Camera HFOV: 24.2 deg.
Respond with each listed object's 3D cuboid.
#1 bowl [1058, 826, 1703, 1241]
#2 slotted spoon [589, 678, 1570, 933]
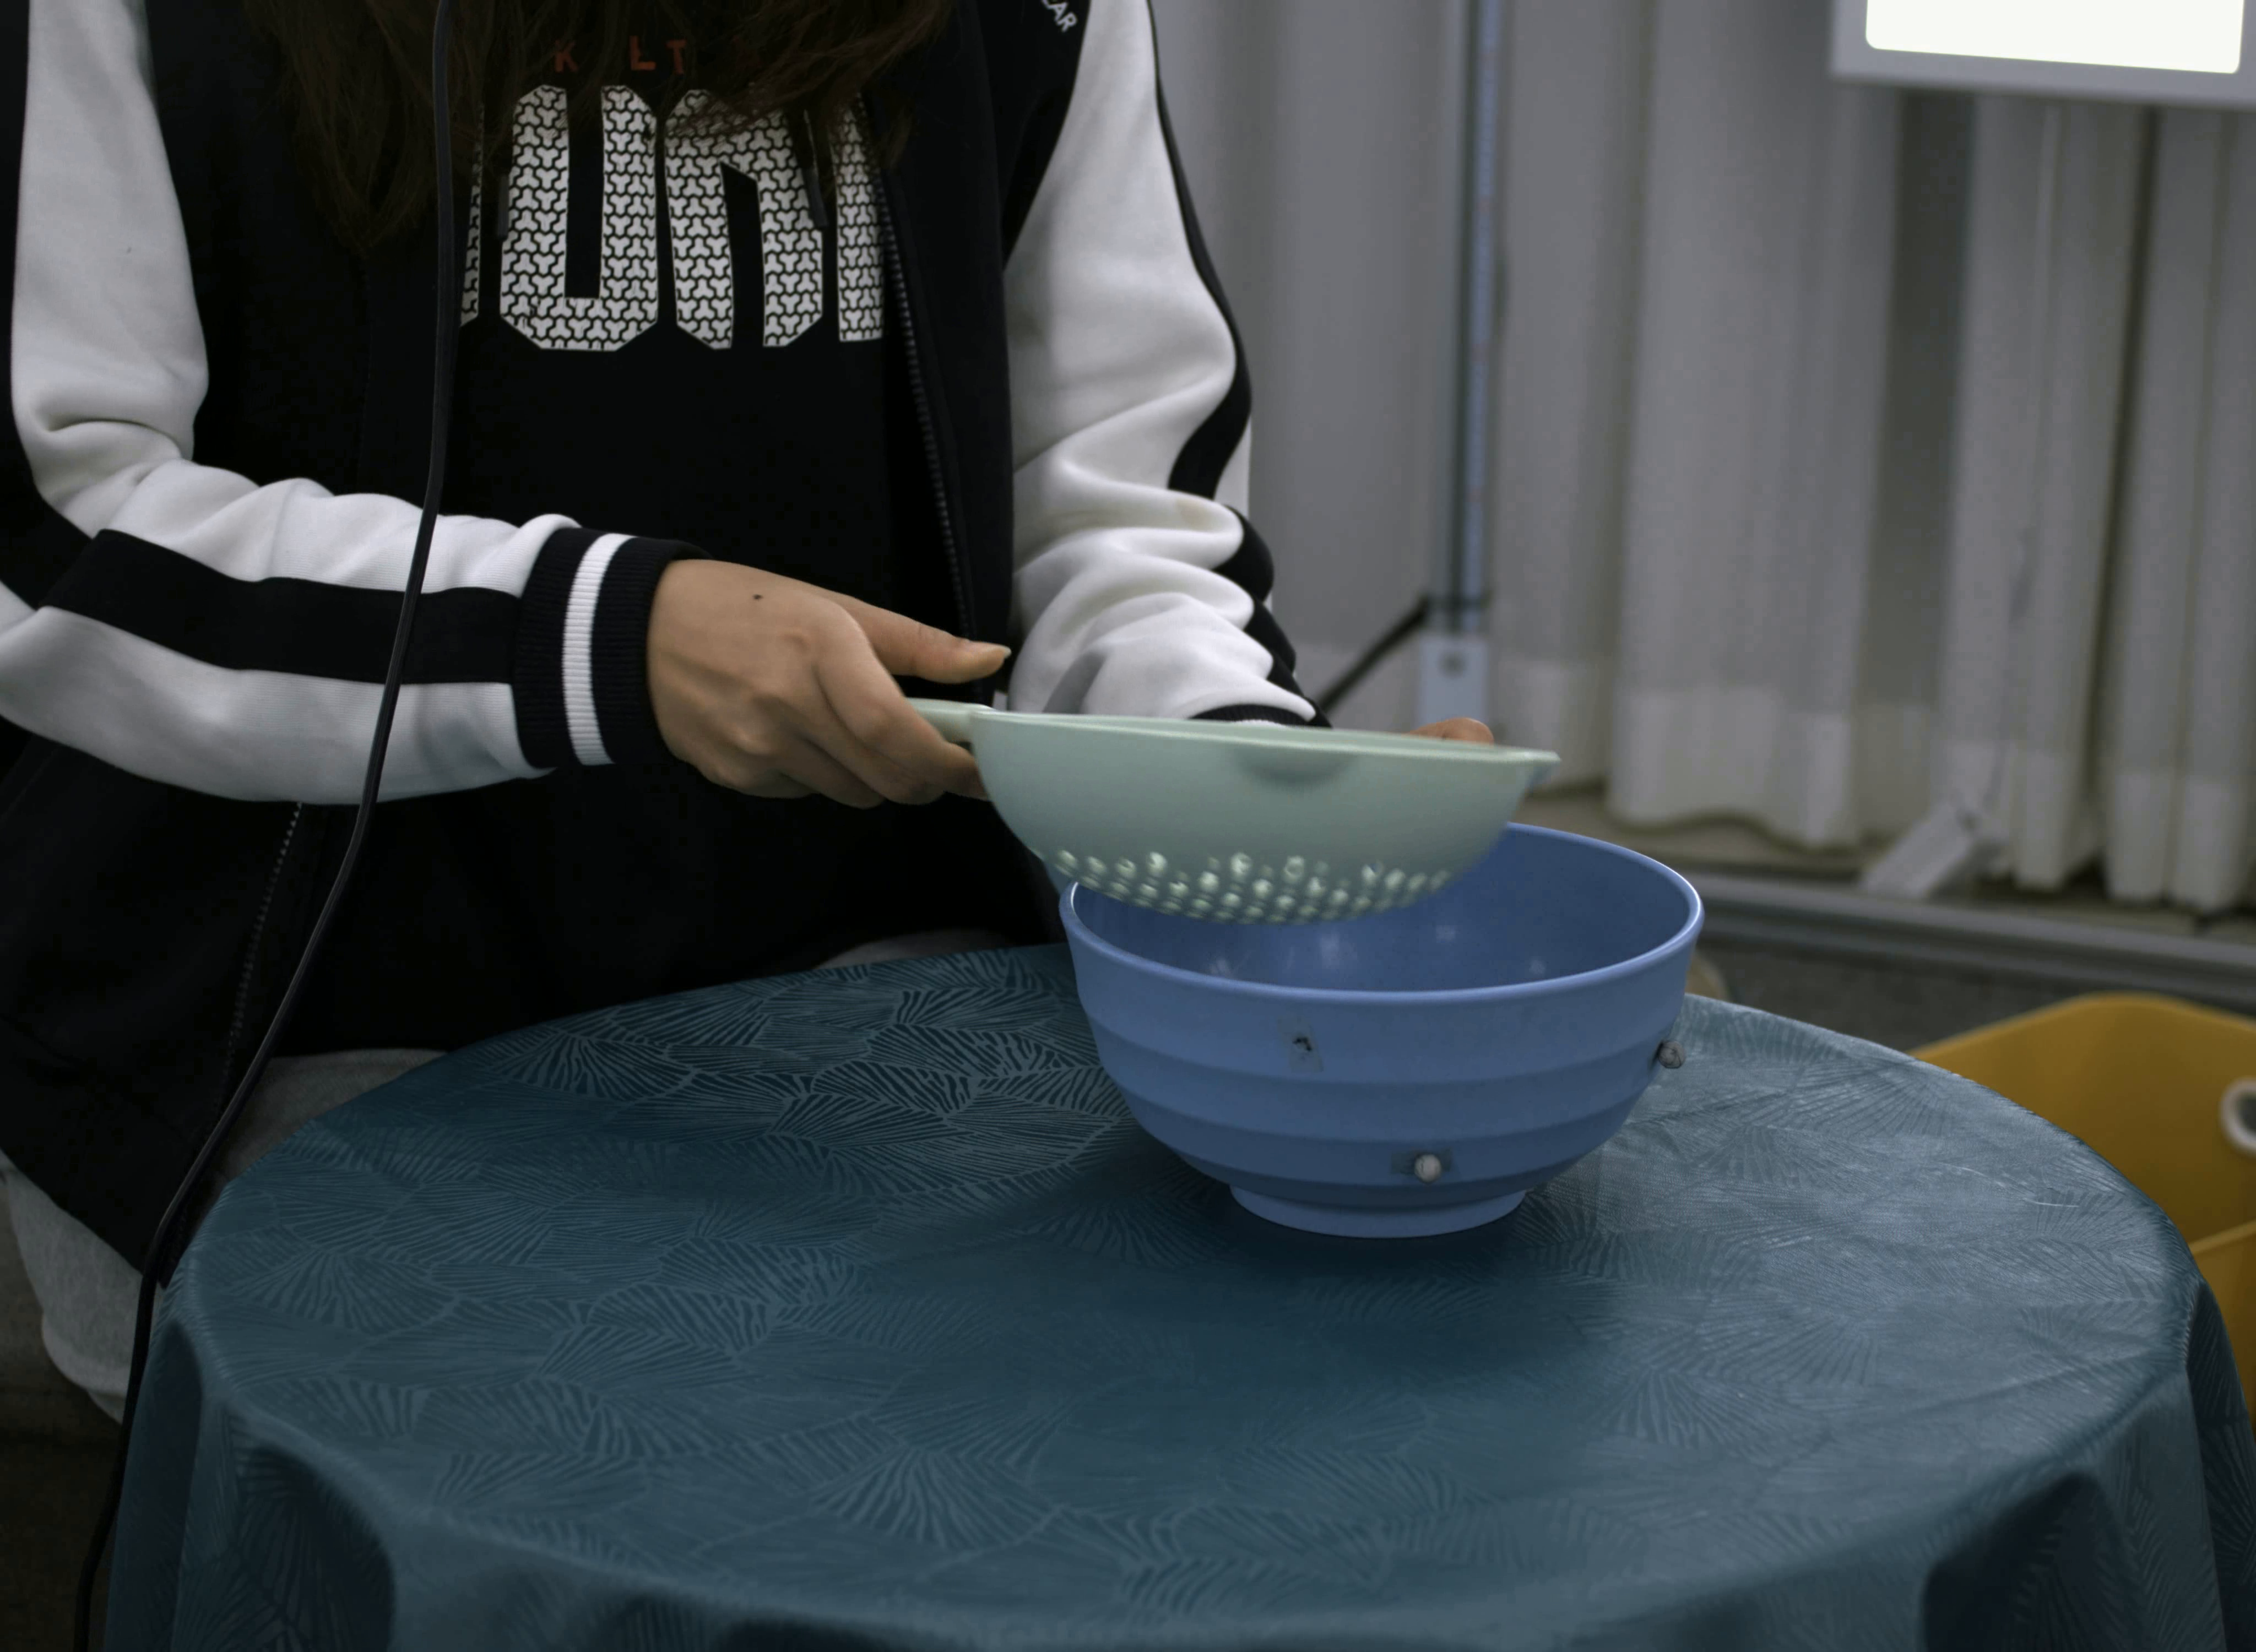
[{"bbox_3d":[0.077,0.067,1.611,0.196,0.096,0.195,0,16,1],"label":"bowl"},{"bbox_3d":[-0.036,-0.022,1.632,0.354,0.076,0.171,16,8,38],"label":"slotted spoon"}]
